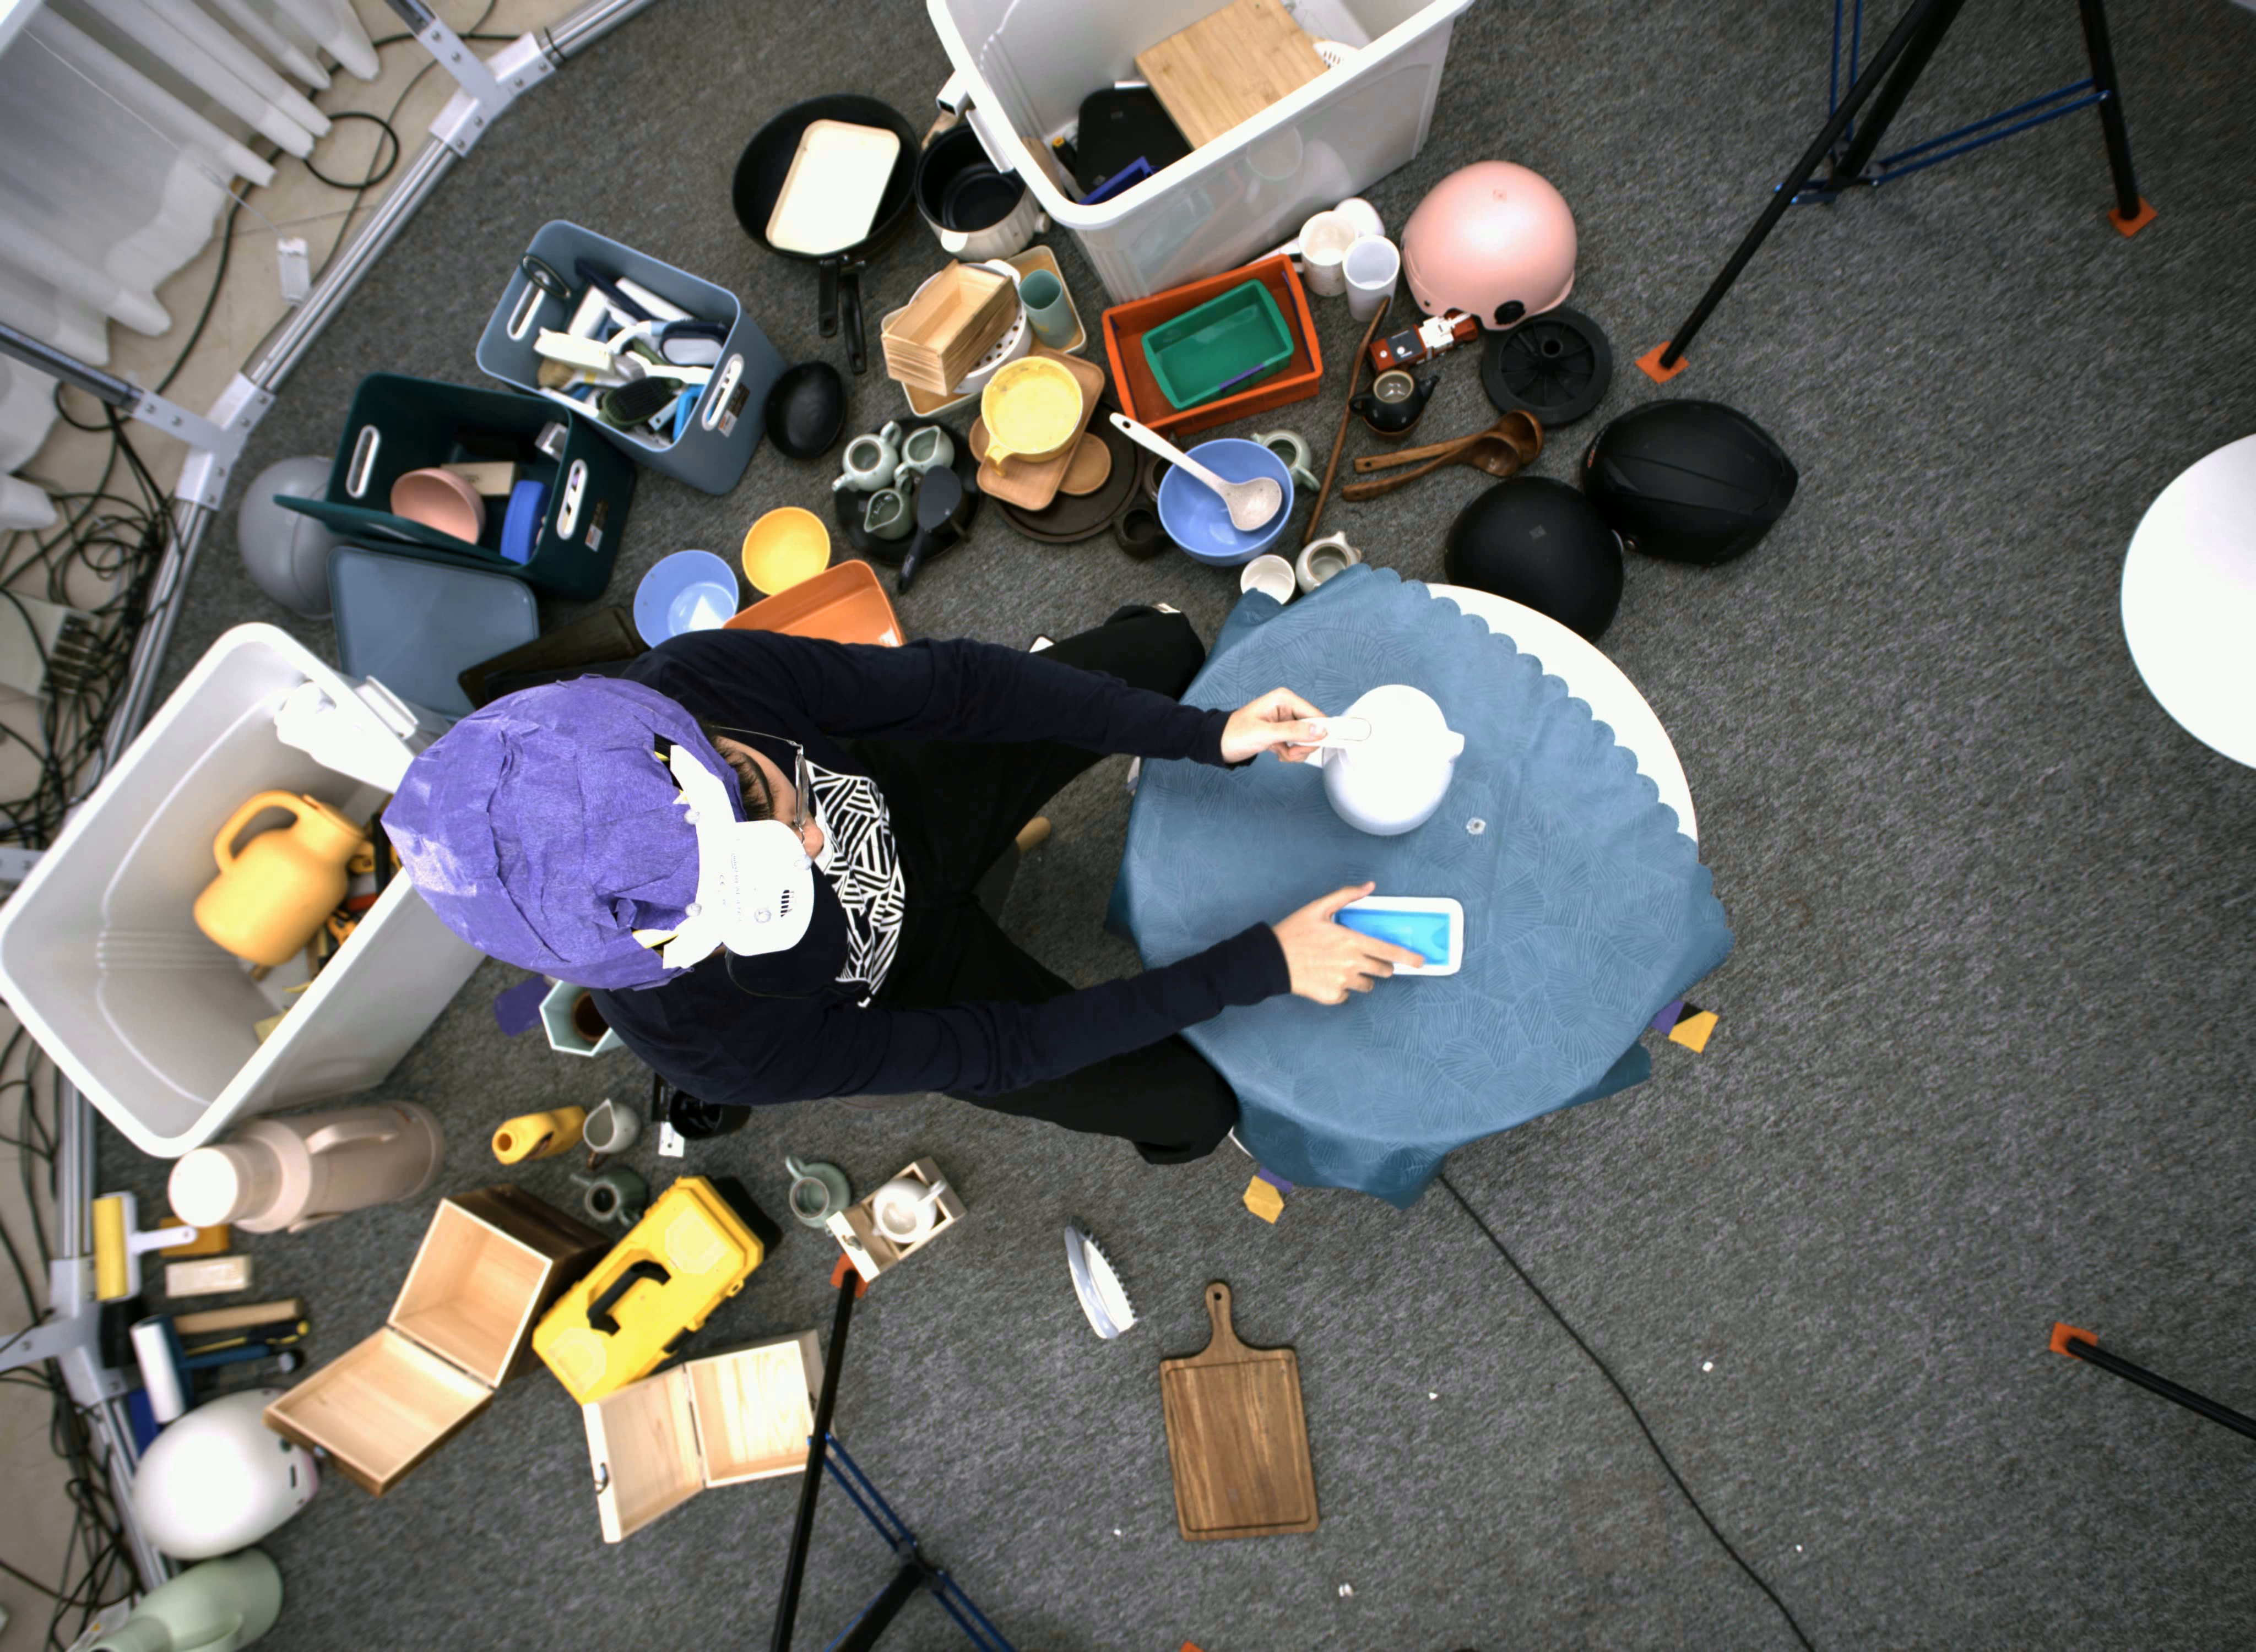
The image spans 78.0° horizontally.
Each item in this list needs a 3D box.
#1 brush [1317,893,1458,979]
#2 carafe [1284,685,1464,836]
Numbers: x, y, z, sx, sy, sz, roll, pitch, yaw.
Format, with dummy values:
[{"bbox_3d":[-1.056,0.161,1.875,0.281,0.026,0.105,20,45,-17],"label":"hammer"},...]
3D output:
[{"bbox_3d":[0.268,0.111,1.427,0.144,0.056,0.083,4,84,9],"label":"brush"},{"bbox_3d":[0.237,-0.070,1.344,0.168,0.249,0.132,5,86,10],"label":"carafe"}]
